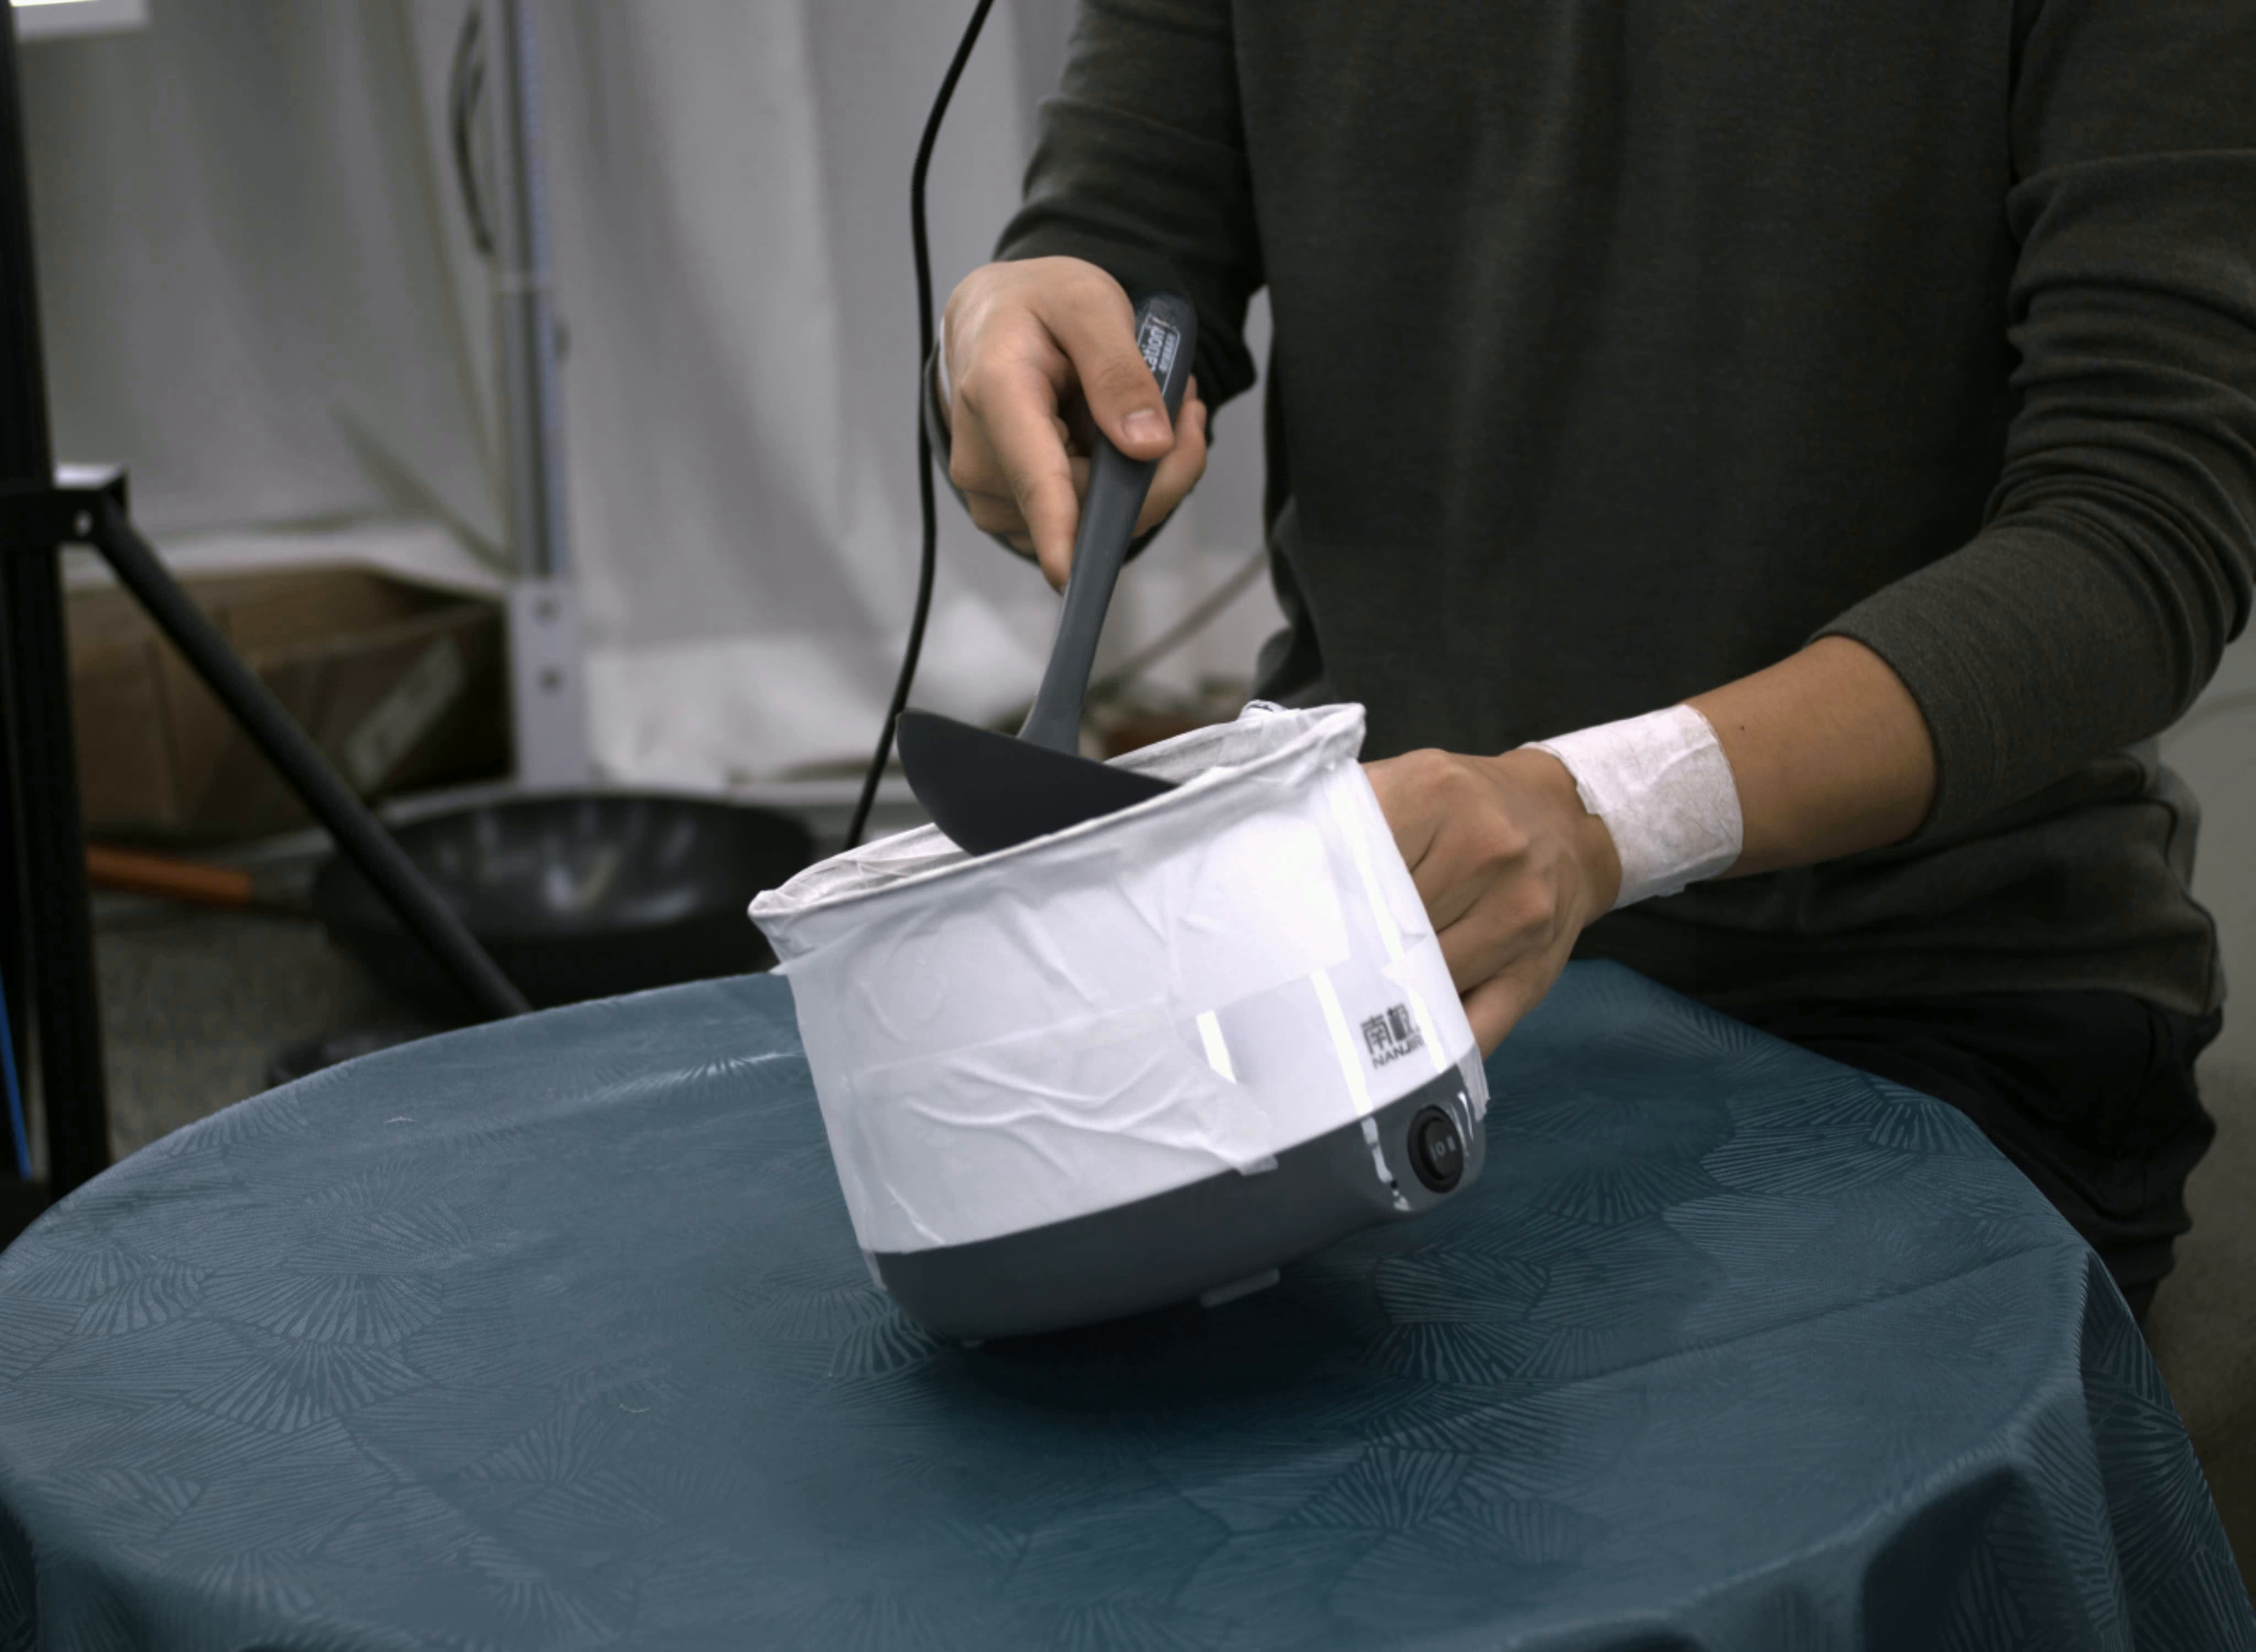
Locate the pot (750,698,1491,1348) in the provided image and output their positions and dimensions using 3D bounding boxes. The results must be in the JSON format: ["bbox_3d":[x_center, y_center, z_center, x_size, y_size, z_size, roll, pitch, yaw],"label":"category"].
[{"bbox_3d":[0.017,0.048,1.461,0.182,0.137,0.229,-14,6,38],"label":"pot"}]

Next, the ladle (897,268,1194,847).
[{"bbox_3d":[-0.004,-0.090,1.532,0.085,0.064,0.315,17,40,-3],"label":"ladle"}]
